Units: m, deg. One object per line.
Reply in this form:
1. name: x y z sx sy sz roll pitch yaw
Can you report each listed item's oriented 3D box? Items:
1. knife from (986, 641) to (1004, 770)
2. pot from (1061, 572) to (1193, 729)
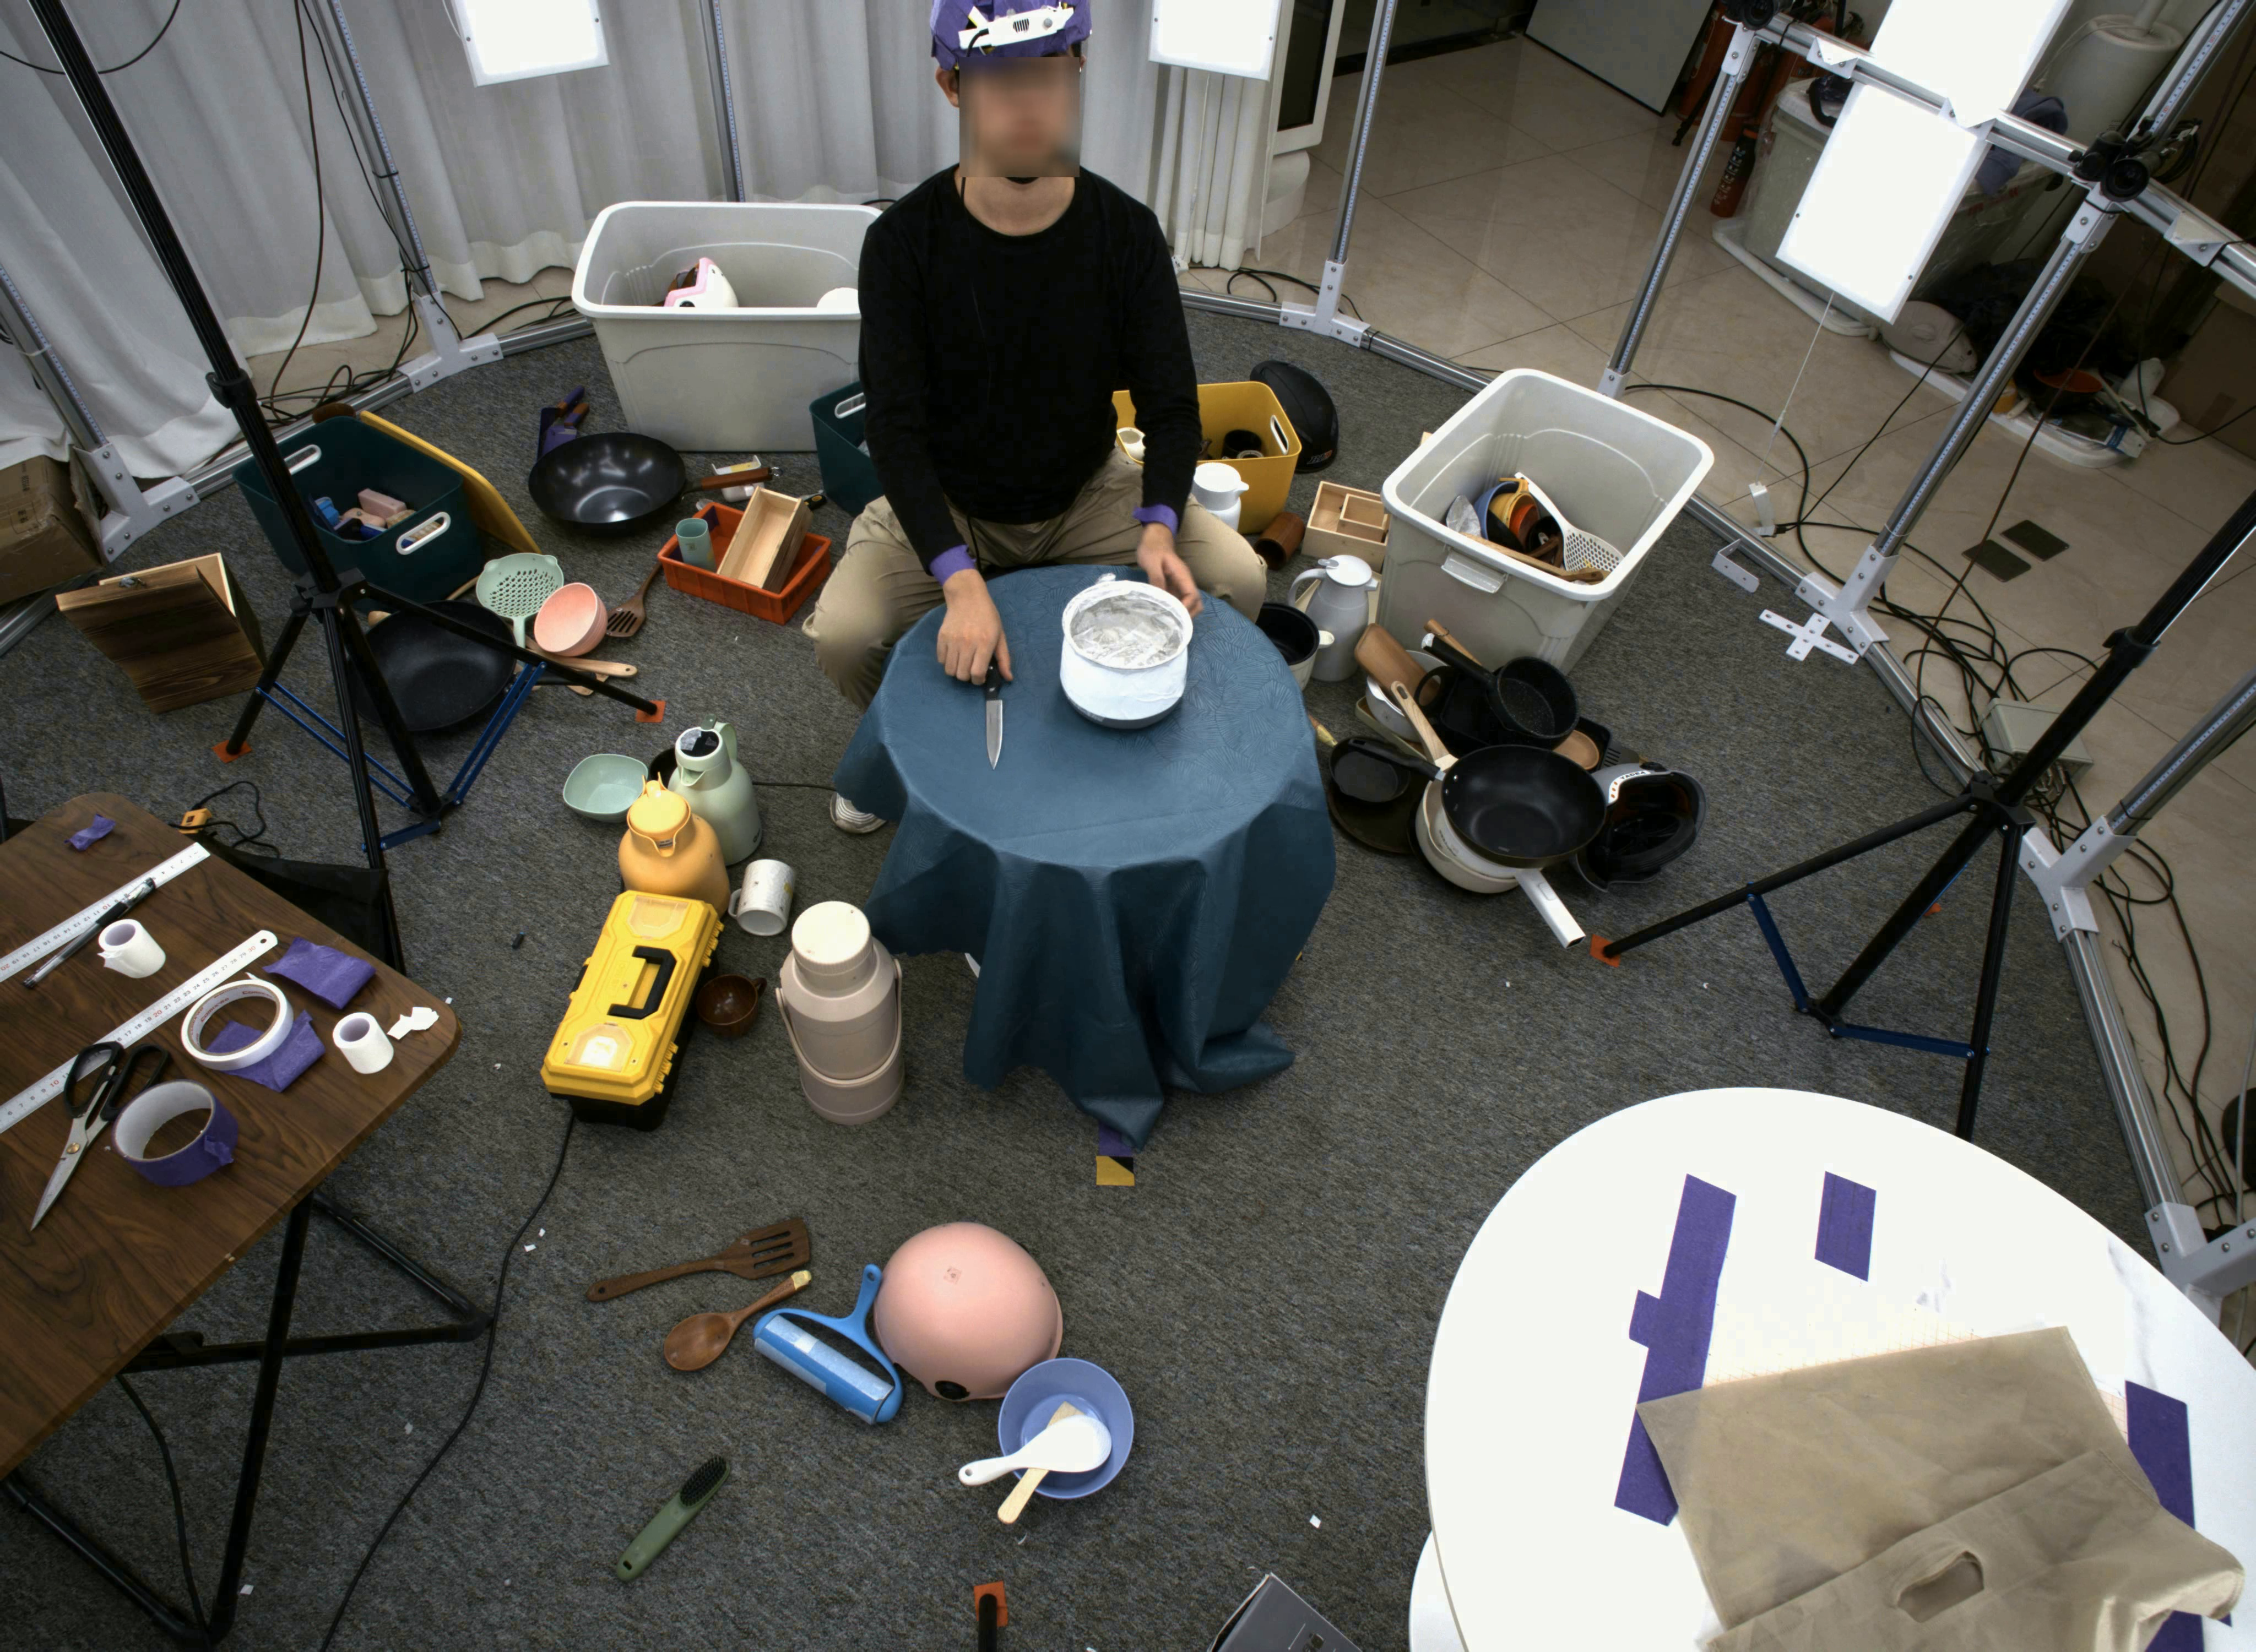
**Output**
1. knife: -0.186 -0.170 1.798 0.024 0.016 0.244 -2 52 -3
2. pot: -0.012 -0.256 1.799 0.178 0.133 0.239 -10 52 -13
